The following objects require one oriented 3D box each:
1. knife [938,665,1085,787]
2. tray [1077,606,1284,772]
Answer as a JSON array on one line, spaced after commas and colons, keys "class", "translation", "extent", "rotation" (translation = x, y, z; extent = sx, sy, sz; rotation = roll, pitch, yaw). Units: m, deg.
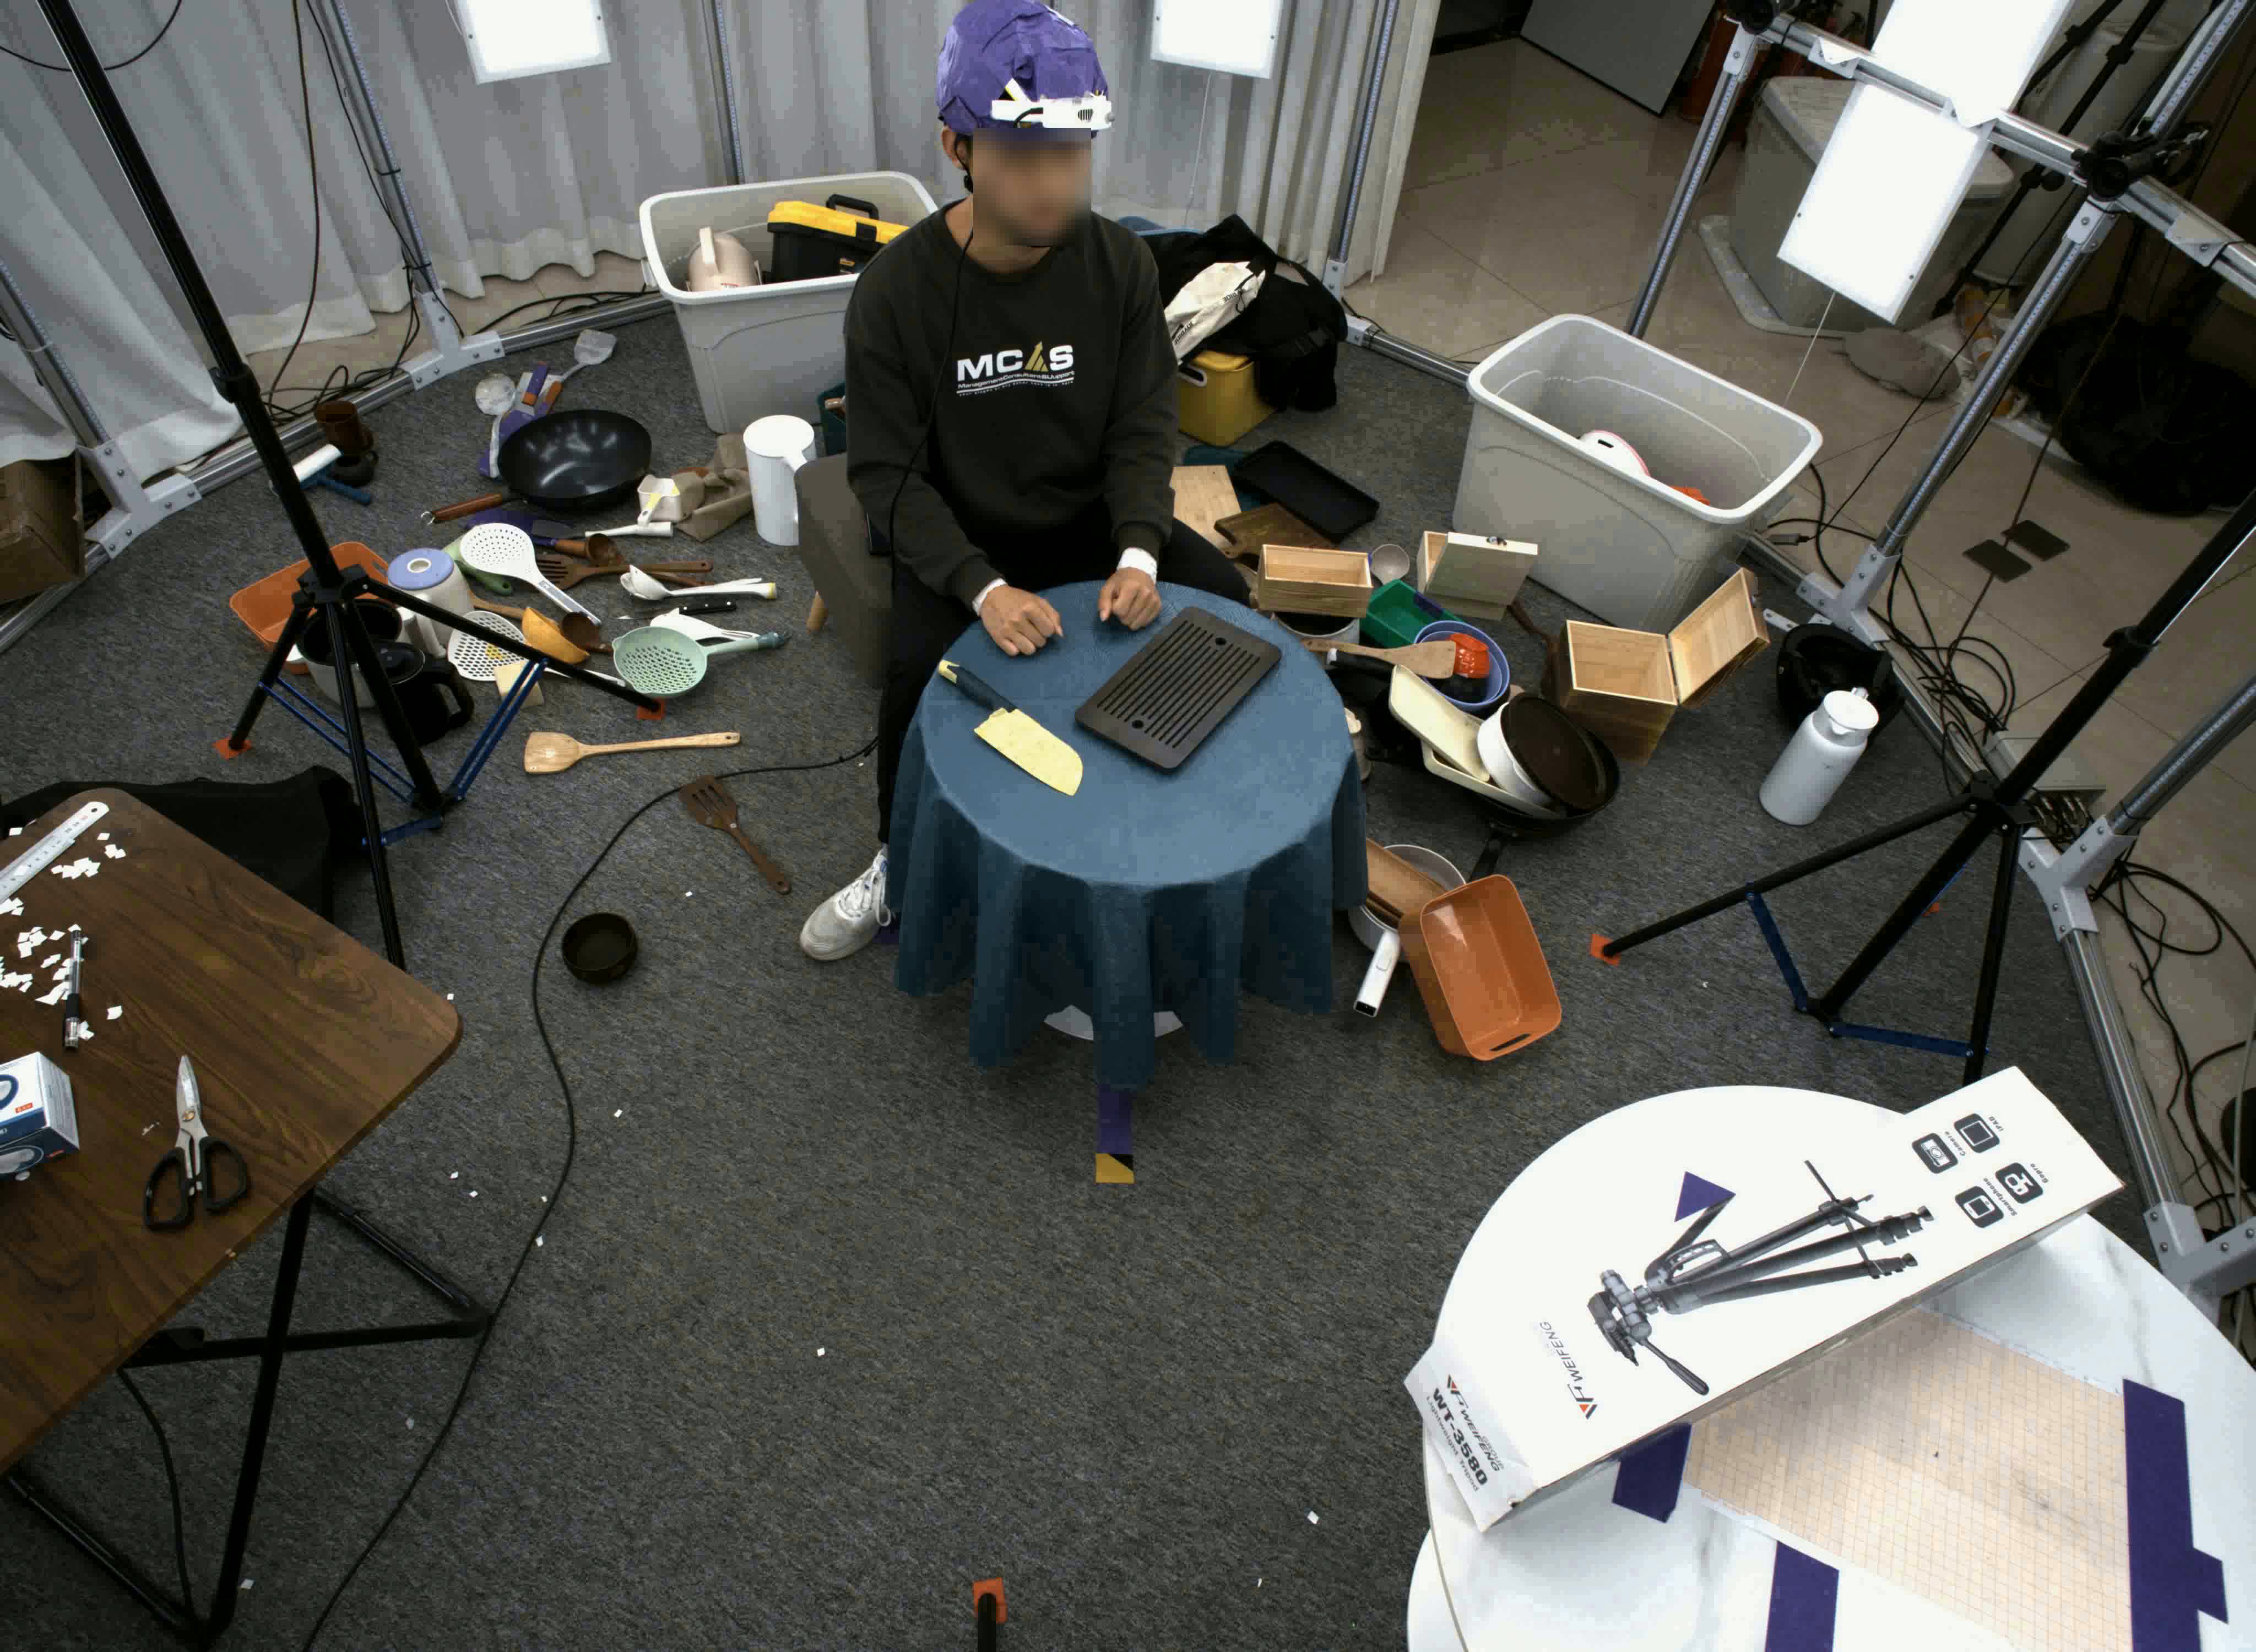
[{"class": "knife", "translation": [-0.168, -0.137, 1.765], "extent": [0.293, 0.026, 0.082], "rotation": [38, 55, 25]}, {"class": "tray", "translation": [0.079, -0.199, 1.834], "extent": [0.172, 0.018, 0.310], "rotation": [29, 53, 21]}]
